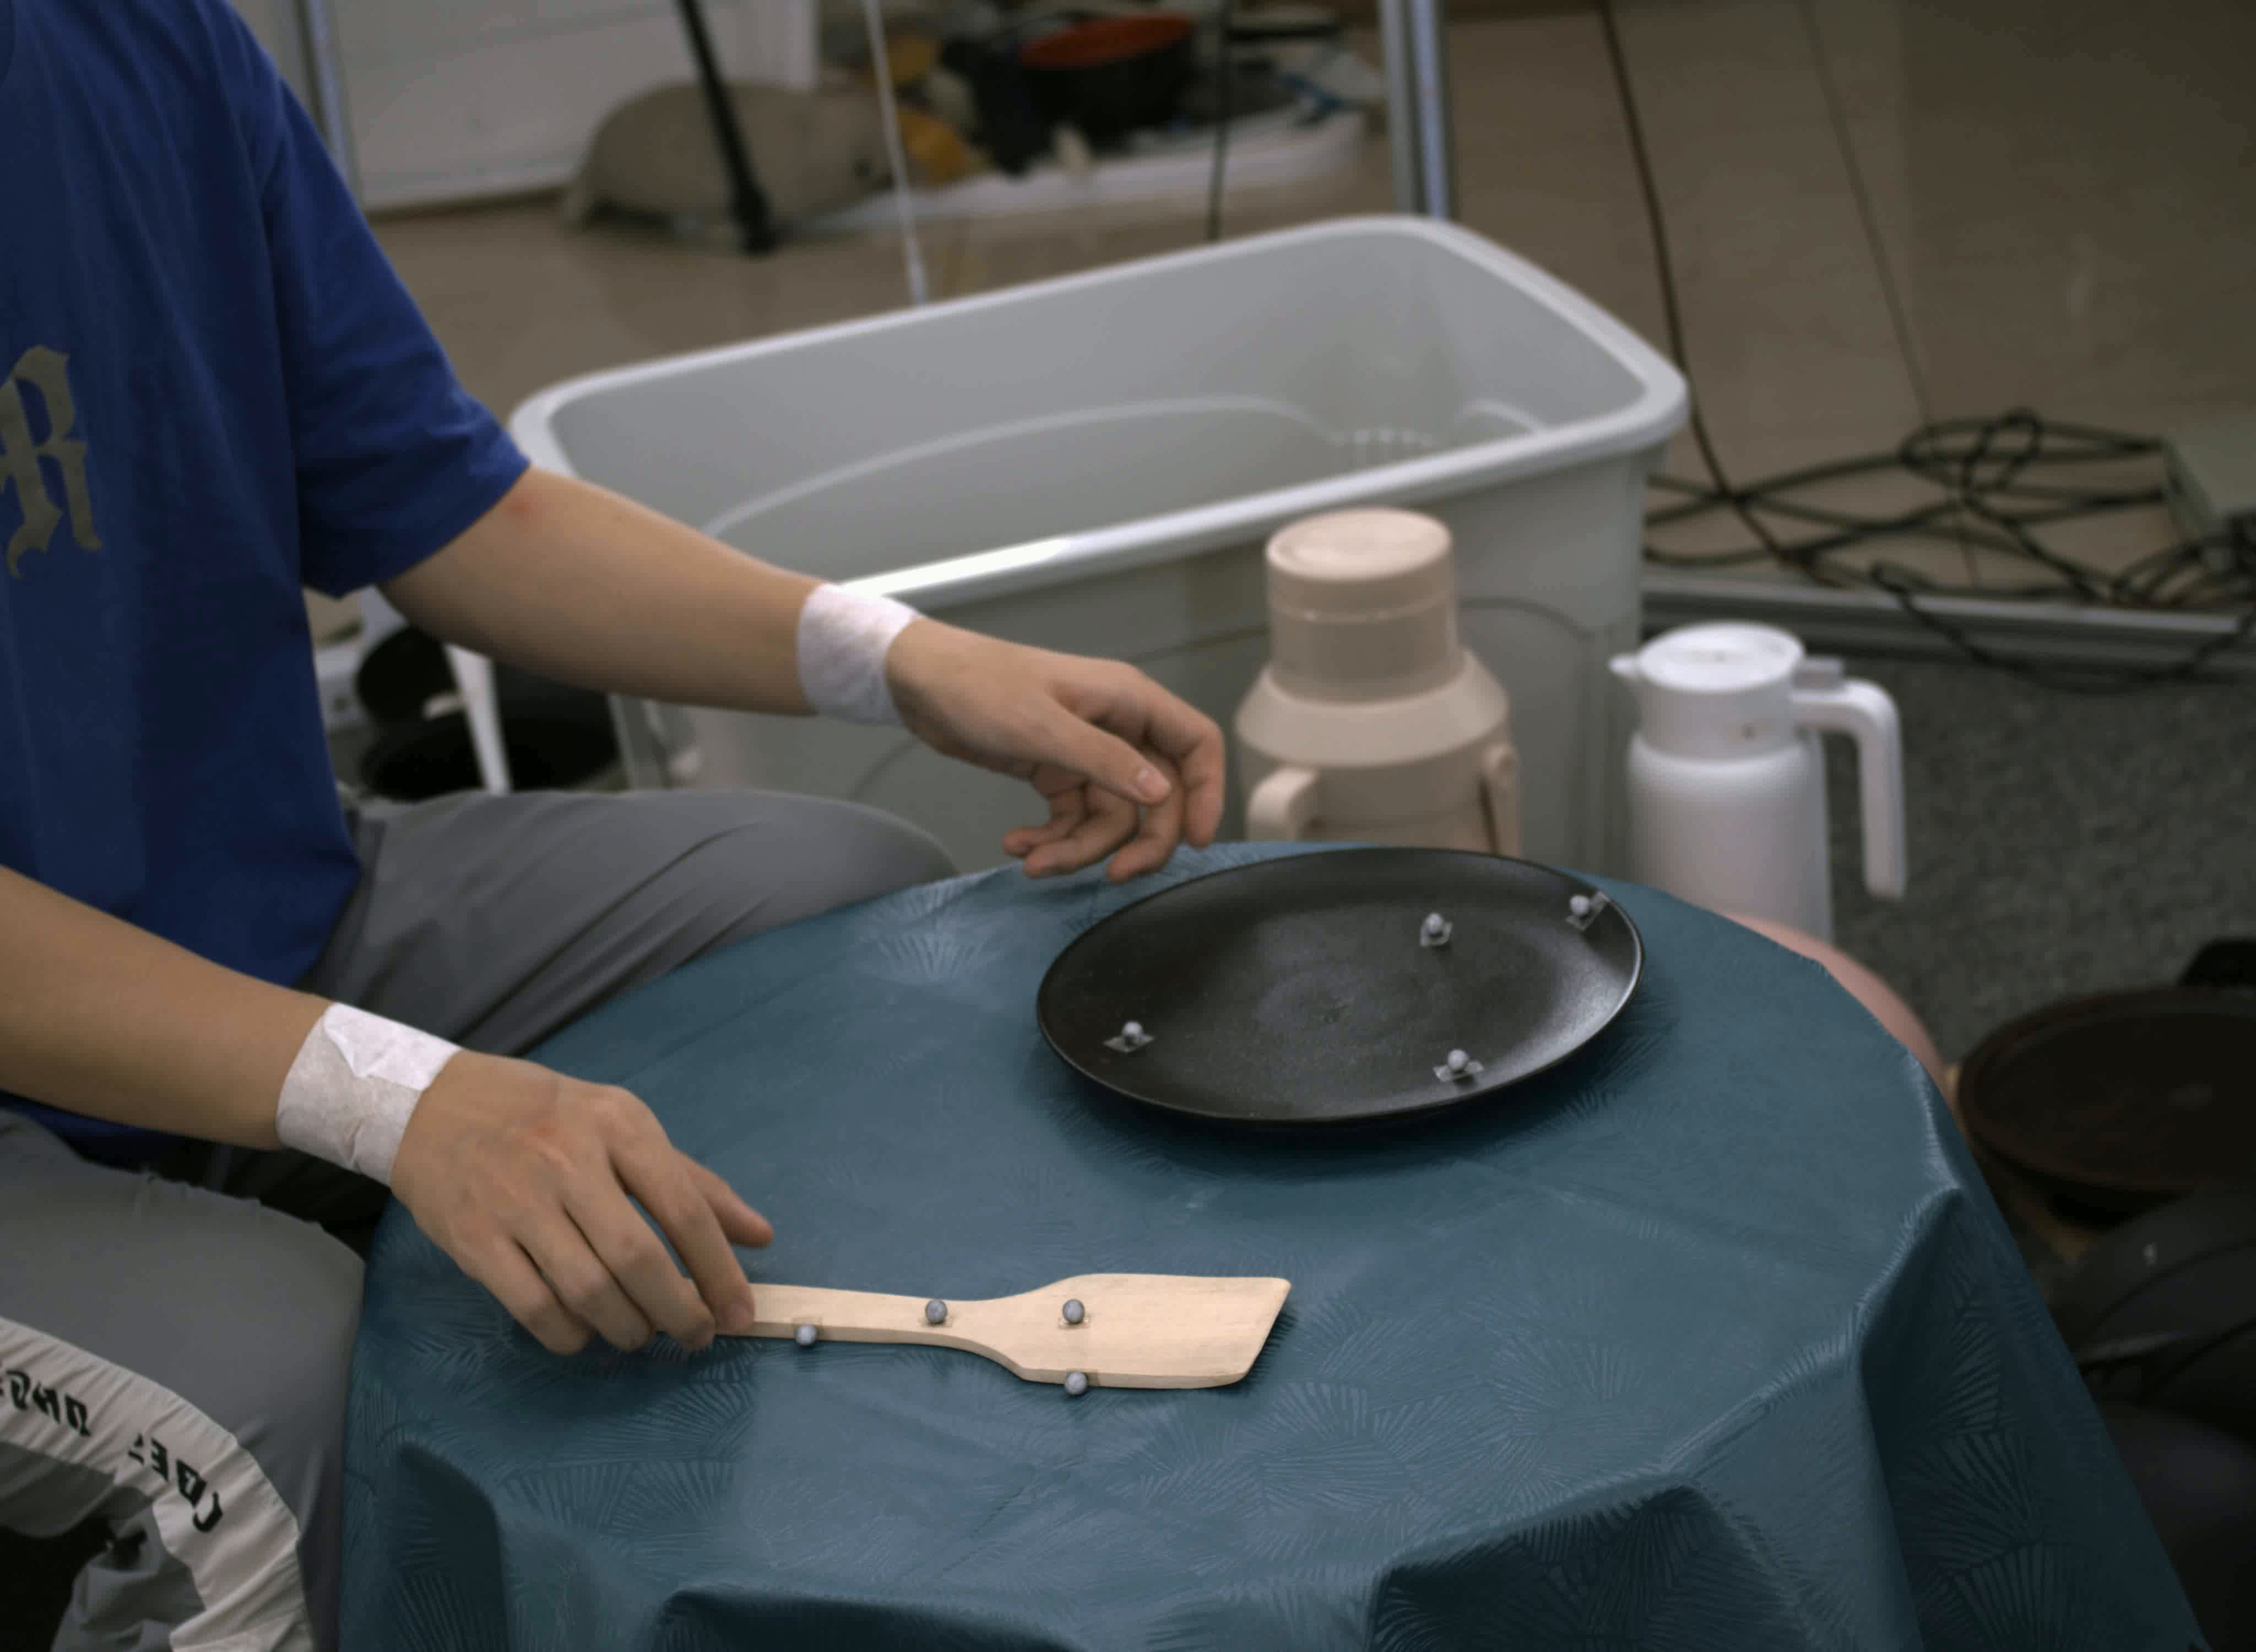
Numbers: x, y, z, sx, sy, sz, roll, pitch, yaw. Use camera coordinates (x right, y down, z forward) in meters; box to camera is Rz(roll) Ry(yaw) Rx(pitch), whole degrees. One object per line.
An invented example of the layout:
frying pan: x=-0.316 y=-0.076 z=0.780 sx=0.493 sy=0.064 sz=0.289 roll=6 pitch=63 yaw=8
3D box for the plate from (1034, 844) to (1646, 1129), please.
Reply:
plate: x=0.085 y=0.069 z=2.249 sx=0.244 sy=0.024 sz=0.241 roll=-6 pitch=25 yaw=3

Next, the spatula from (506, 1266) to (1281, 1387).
spatula: x=-0.091 y=0.178 z=2.074 sx=0.292 sy=0.011 sz=0.071 roll=2 pitch=27 yaw=17
